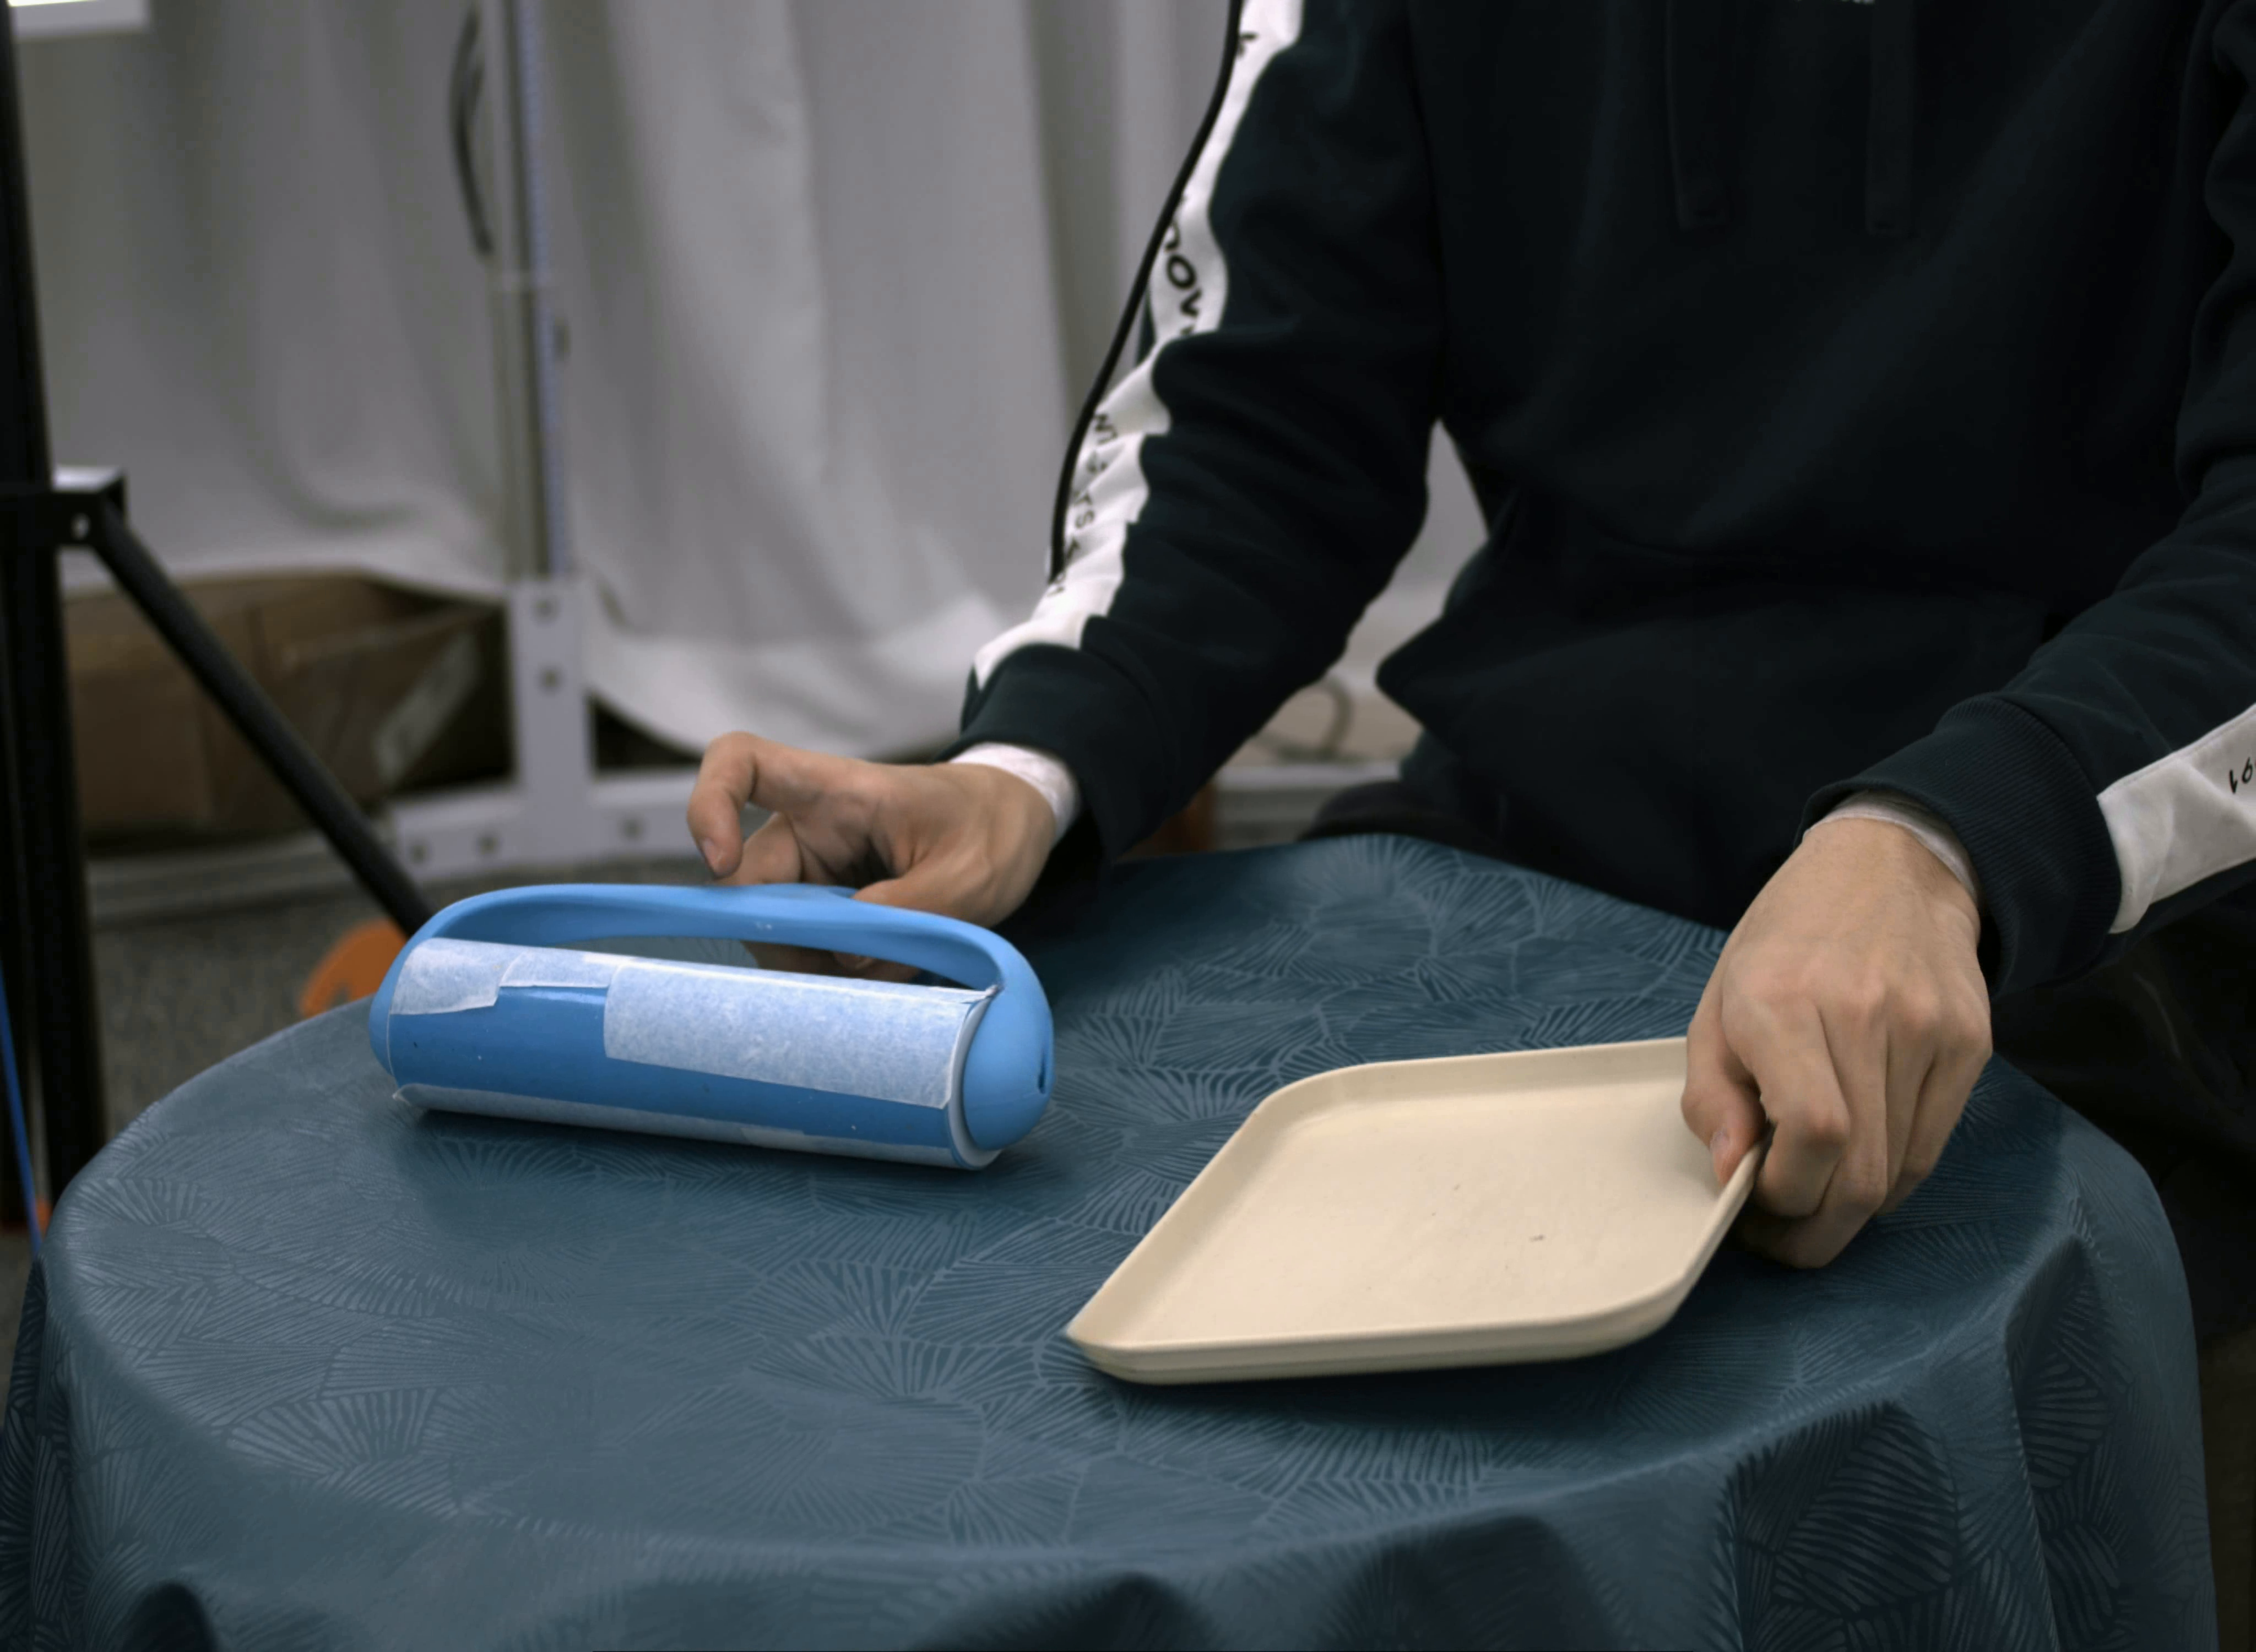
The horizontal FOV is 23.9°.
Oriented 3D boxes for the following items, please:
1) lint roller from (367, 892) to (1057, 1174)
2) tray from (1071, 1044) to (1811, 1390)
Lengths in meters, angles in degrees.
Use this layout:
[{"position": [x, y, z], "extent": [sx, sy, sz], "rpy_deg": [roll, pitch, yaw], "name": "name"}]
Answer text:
[{"position": [-0.108, 0.052, 1.670], "extent": [0.232, 0.068, 0.178], "rpy_deg": [2, 18, 22], "name": "lint roller"}, {"position": [0.092, 0.108, 1.475], "extent": [0.173, 0.017, 0.237], "rpy_deg": [-5, 14, 20], "name": "tray"}]
